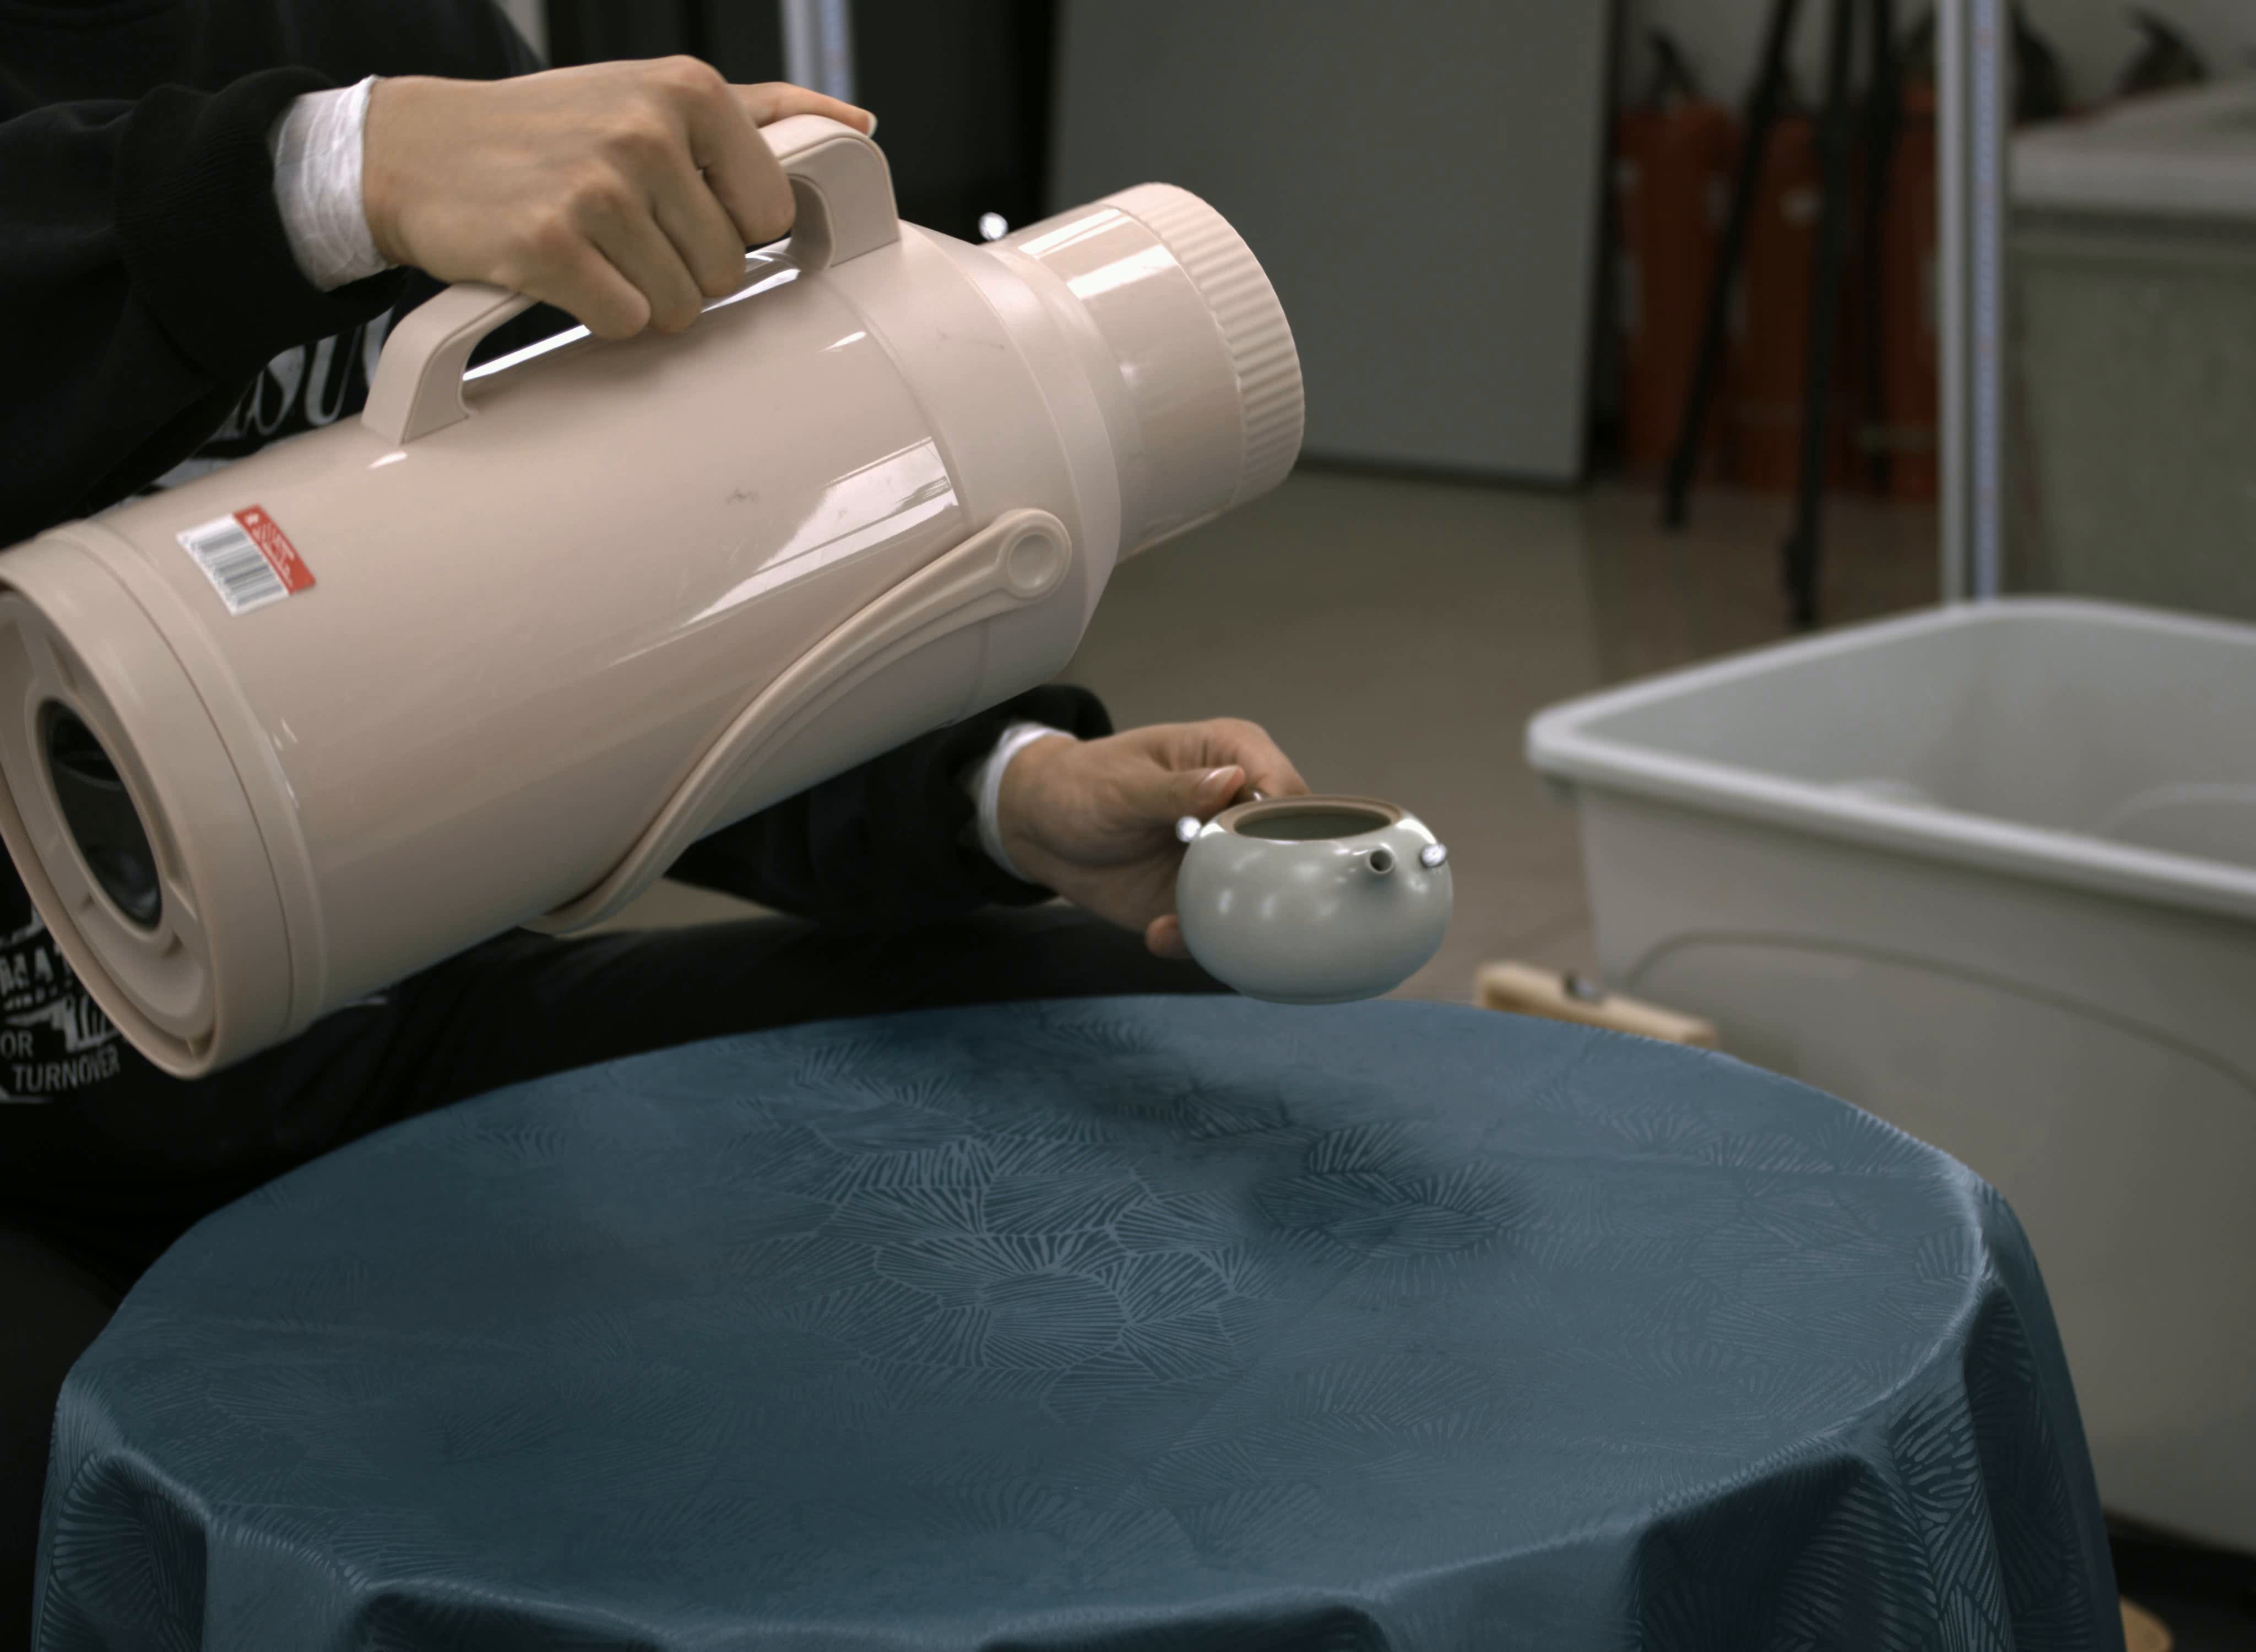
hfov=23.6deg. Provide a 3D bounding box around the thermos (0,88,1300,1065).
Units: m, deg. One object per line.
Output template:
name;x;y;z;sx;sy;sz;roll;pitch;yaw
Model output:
thermos;-0.141;-0.094;1.604;0.399;0.208;0.177;-24;31;-24

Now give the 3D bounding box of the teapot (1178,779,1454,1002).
teapot;0.058;0.020;1.777;0.090;0.060;0.129;-13;17;-22
